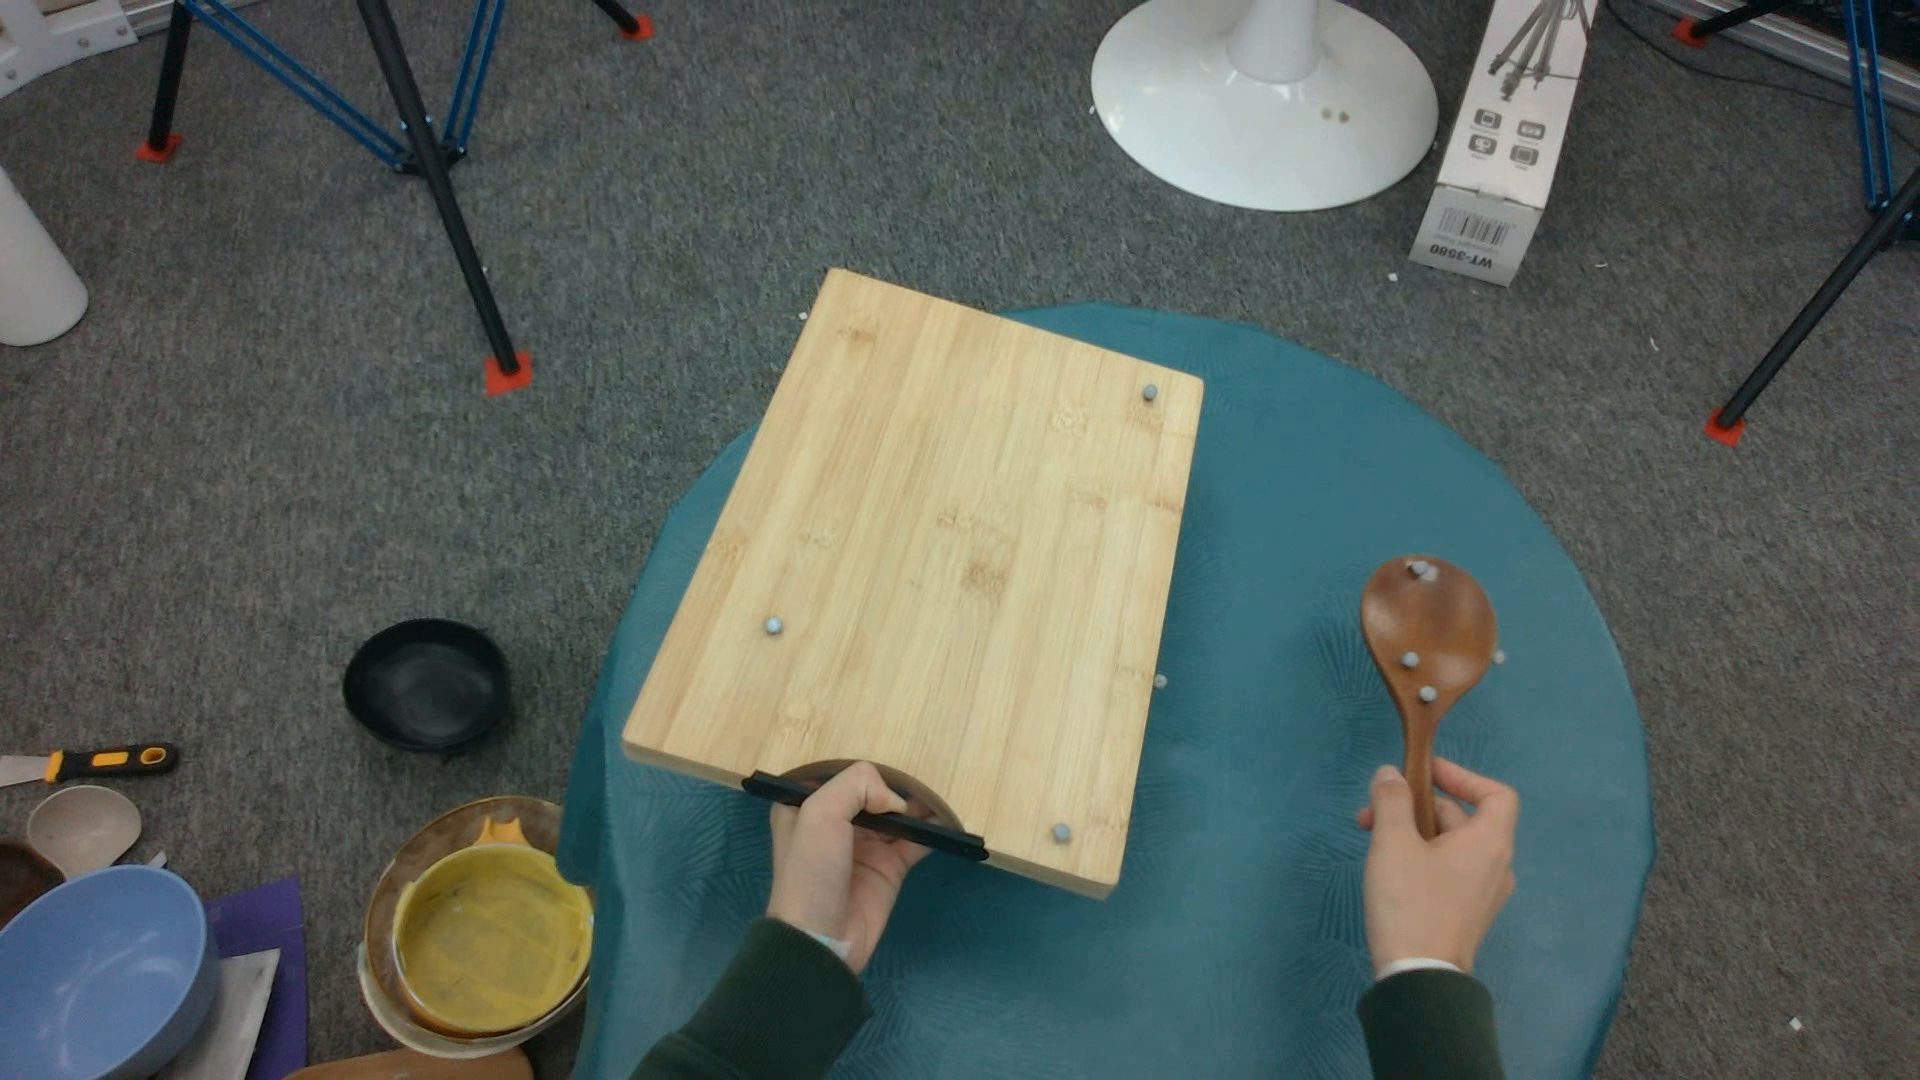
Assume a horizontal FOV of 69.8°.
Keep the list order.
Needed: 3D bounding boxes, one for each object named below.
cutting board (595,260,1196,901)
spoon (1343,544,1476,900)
[{"bbox_3d":[-0.012,0.000,0.740,0.251,0.023,0.350,16,52,-1],"label":"cutting board"},{"bbox_3d":[0.230,0.087,0.714,0.075,0.017,0.217,16,51,2],"label":"spoon"}]
